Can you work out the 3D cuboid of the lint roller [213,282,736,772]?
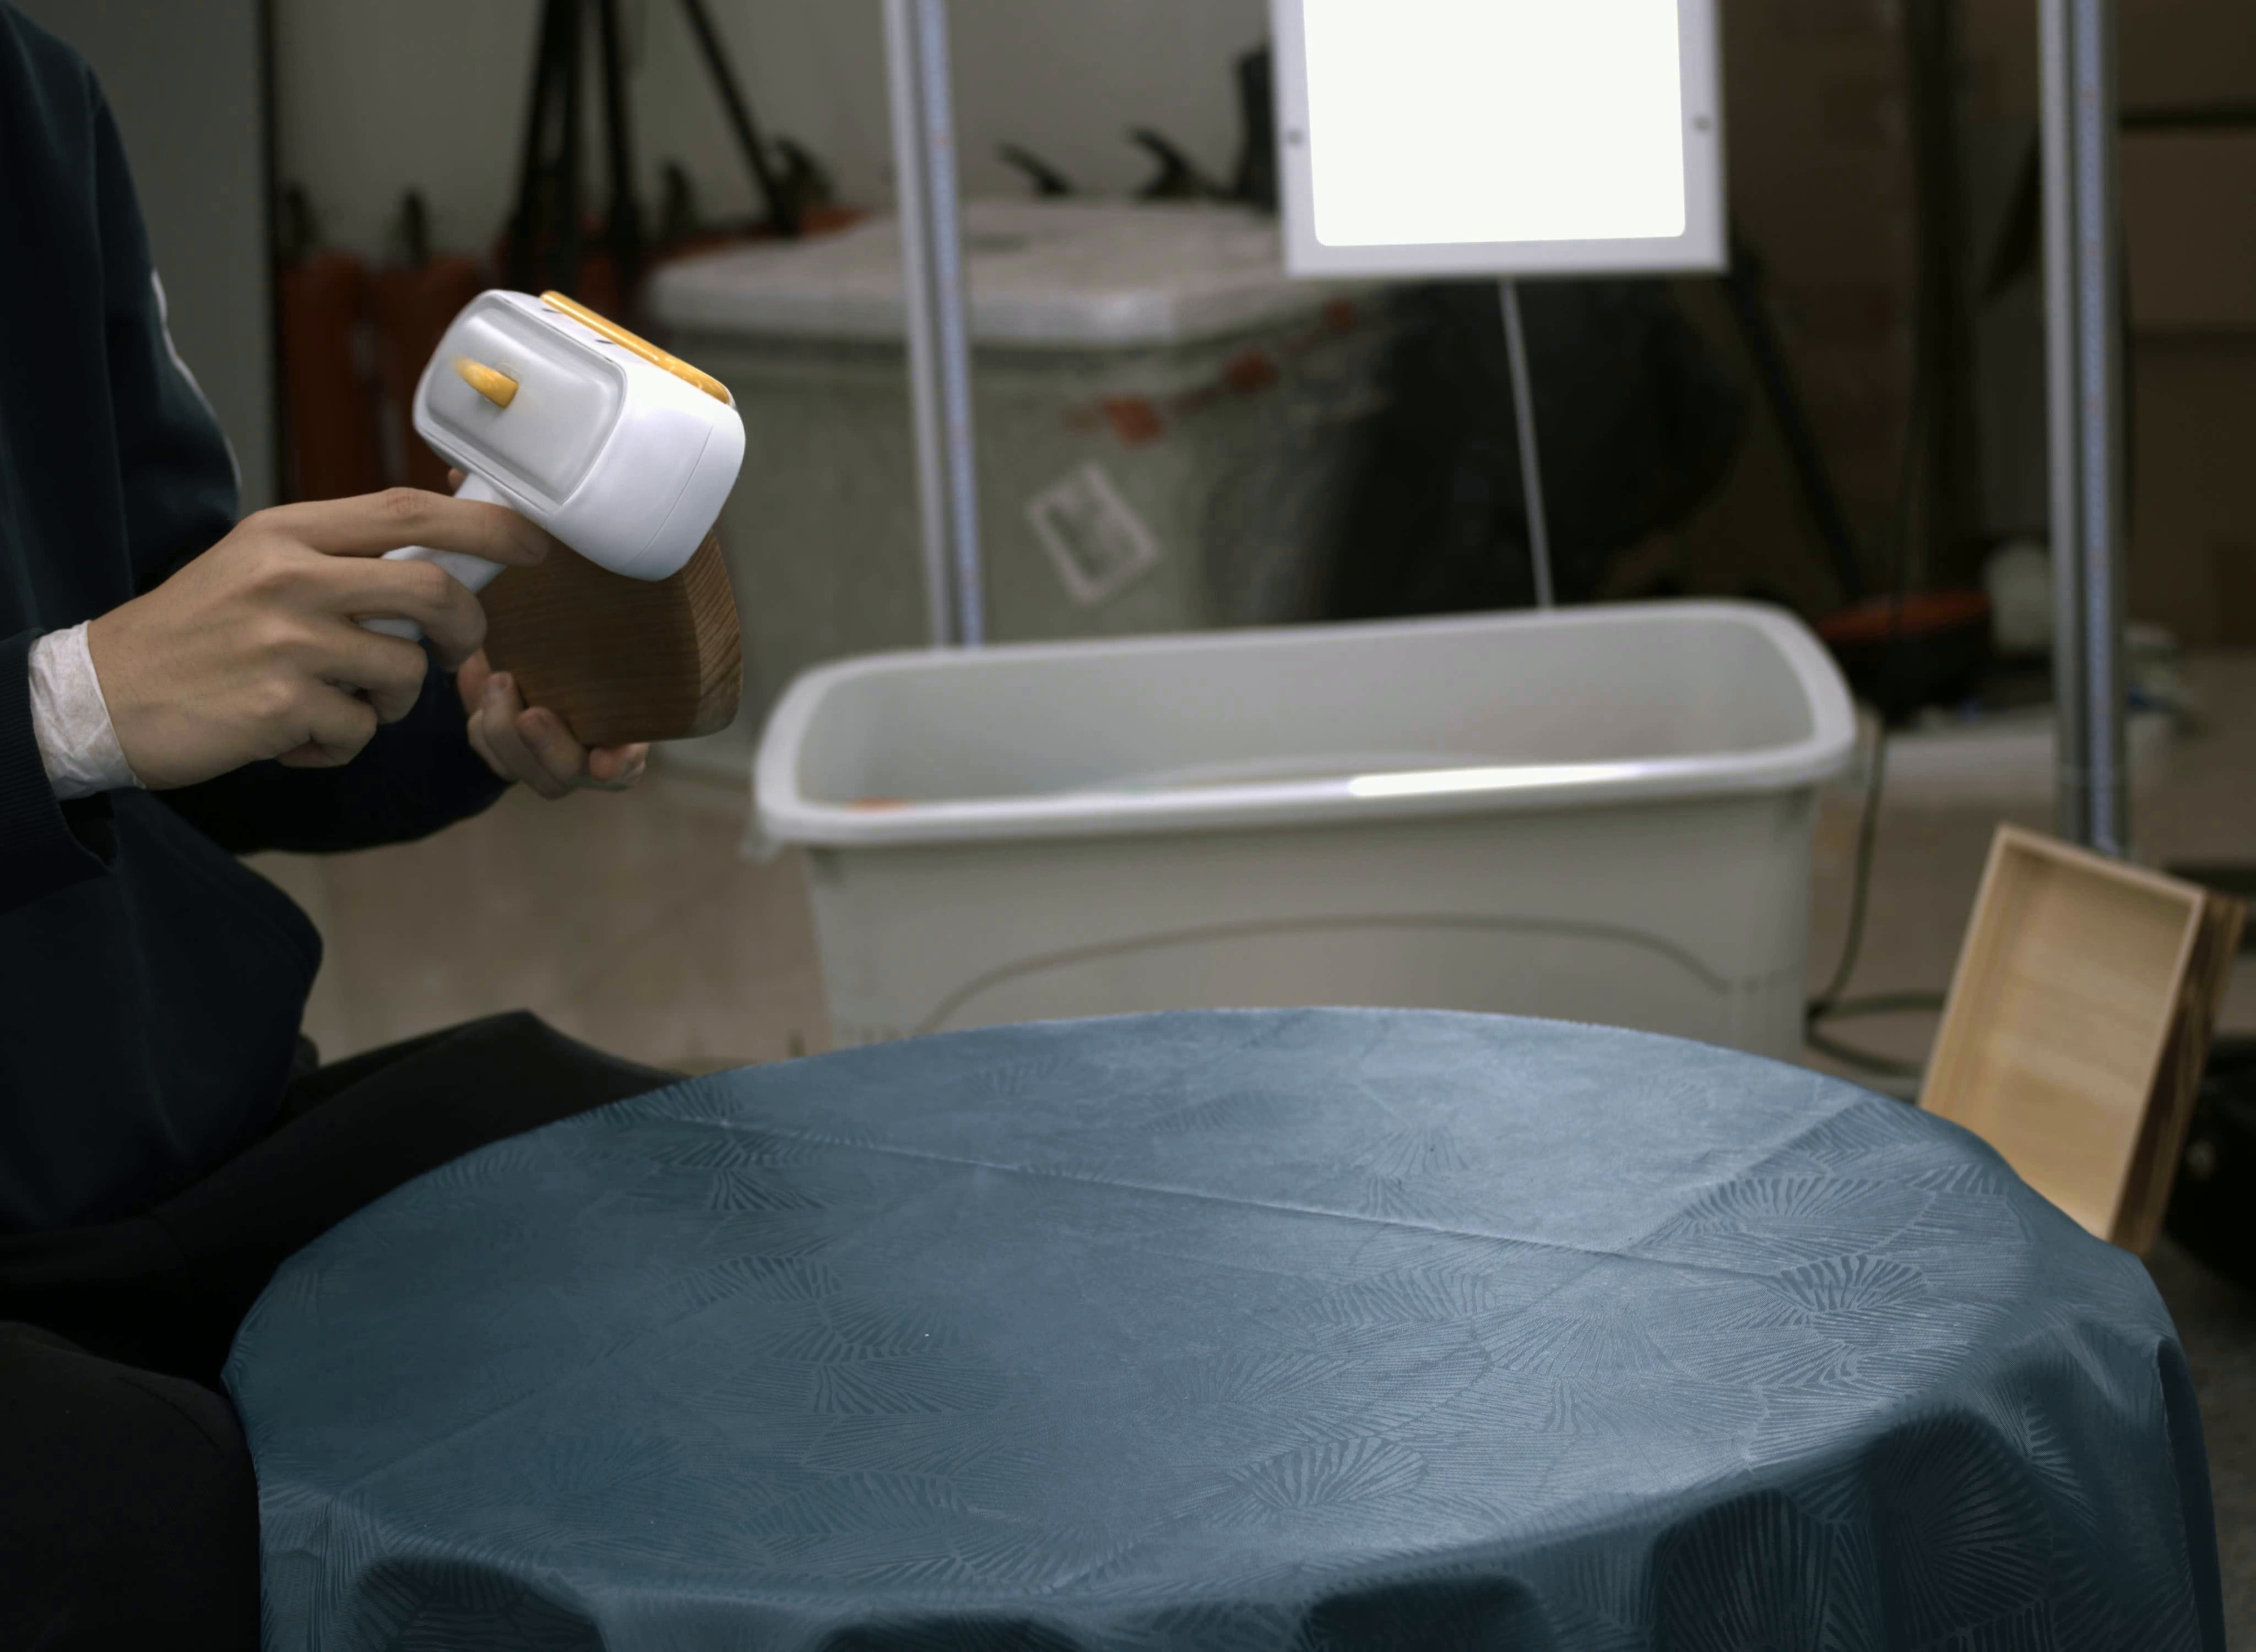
[{"bbox_3d":[-0.226,-0.090,1.823,0.073,0.192,0.196,37,-5,-33],"label":"lint roller"}]

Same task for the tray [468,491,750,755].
[{"bbox_3d":[-0.183,-0.076,1.916,0.020,0.102,0.235,-16,6,-24],"label":"tray"}]
